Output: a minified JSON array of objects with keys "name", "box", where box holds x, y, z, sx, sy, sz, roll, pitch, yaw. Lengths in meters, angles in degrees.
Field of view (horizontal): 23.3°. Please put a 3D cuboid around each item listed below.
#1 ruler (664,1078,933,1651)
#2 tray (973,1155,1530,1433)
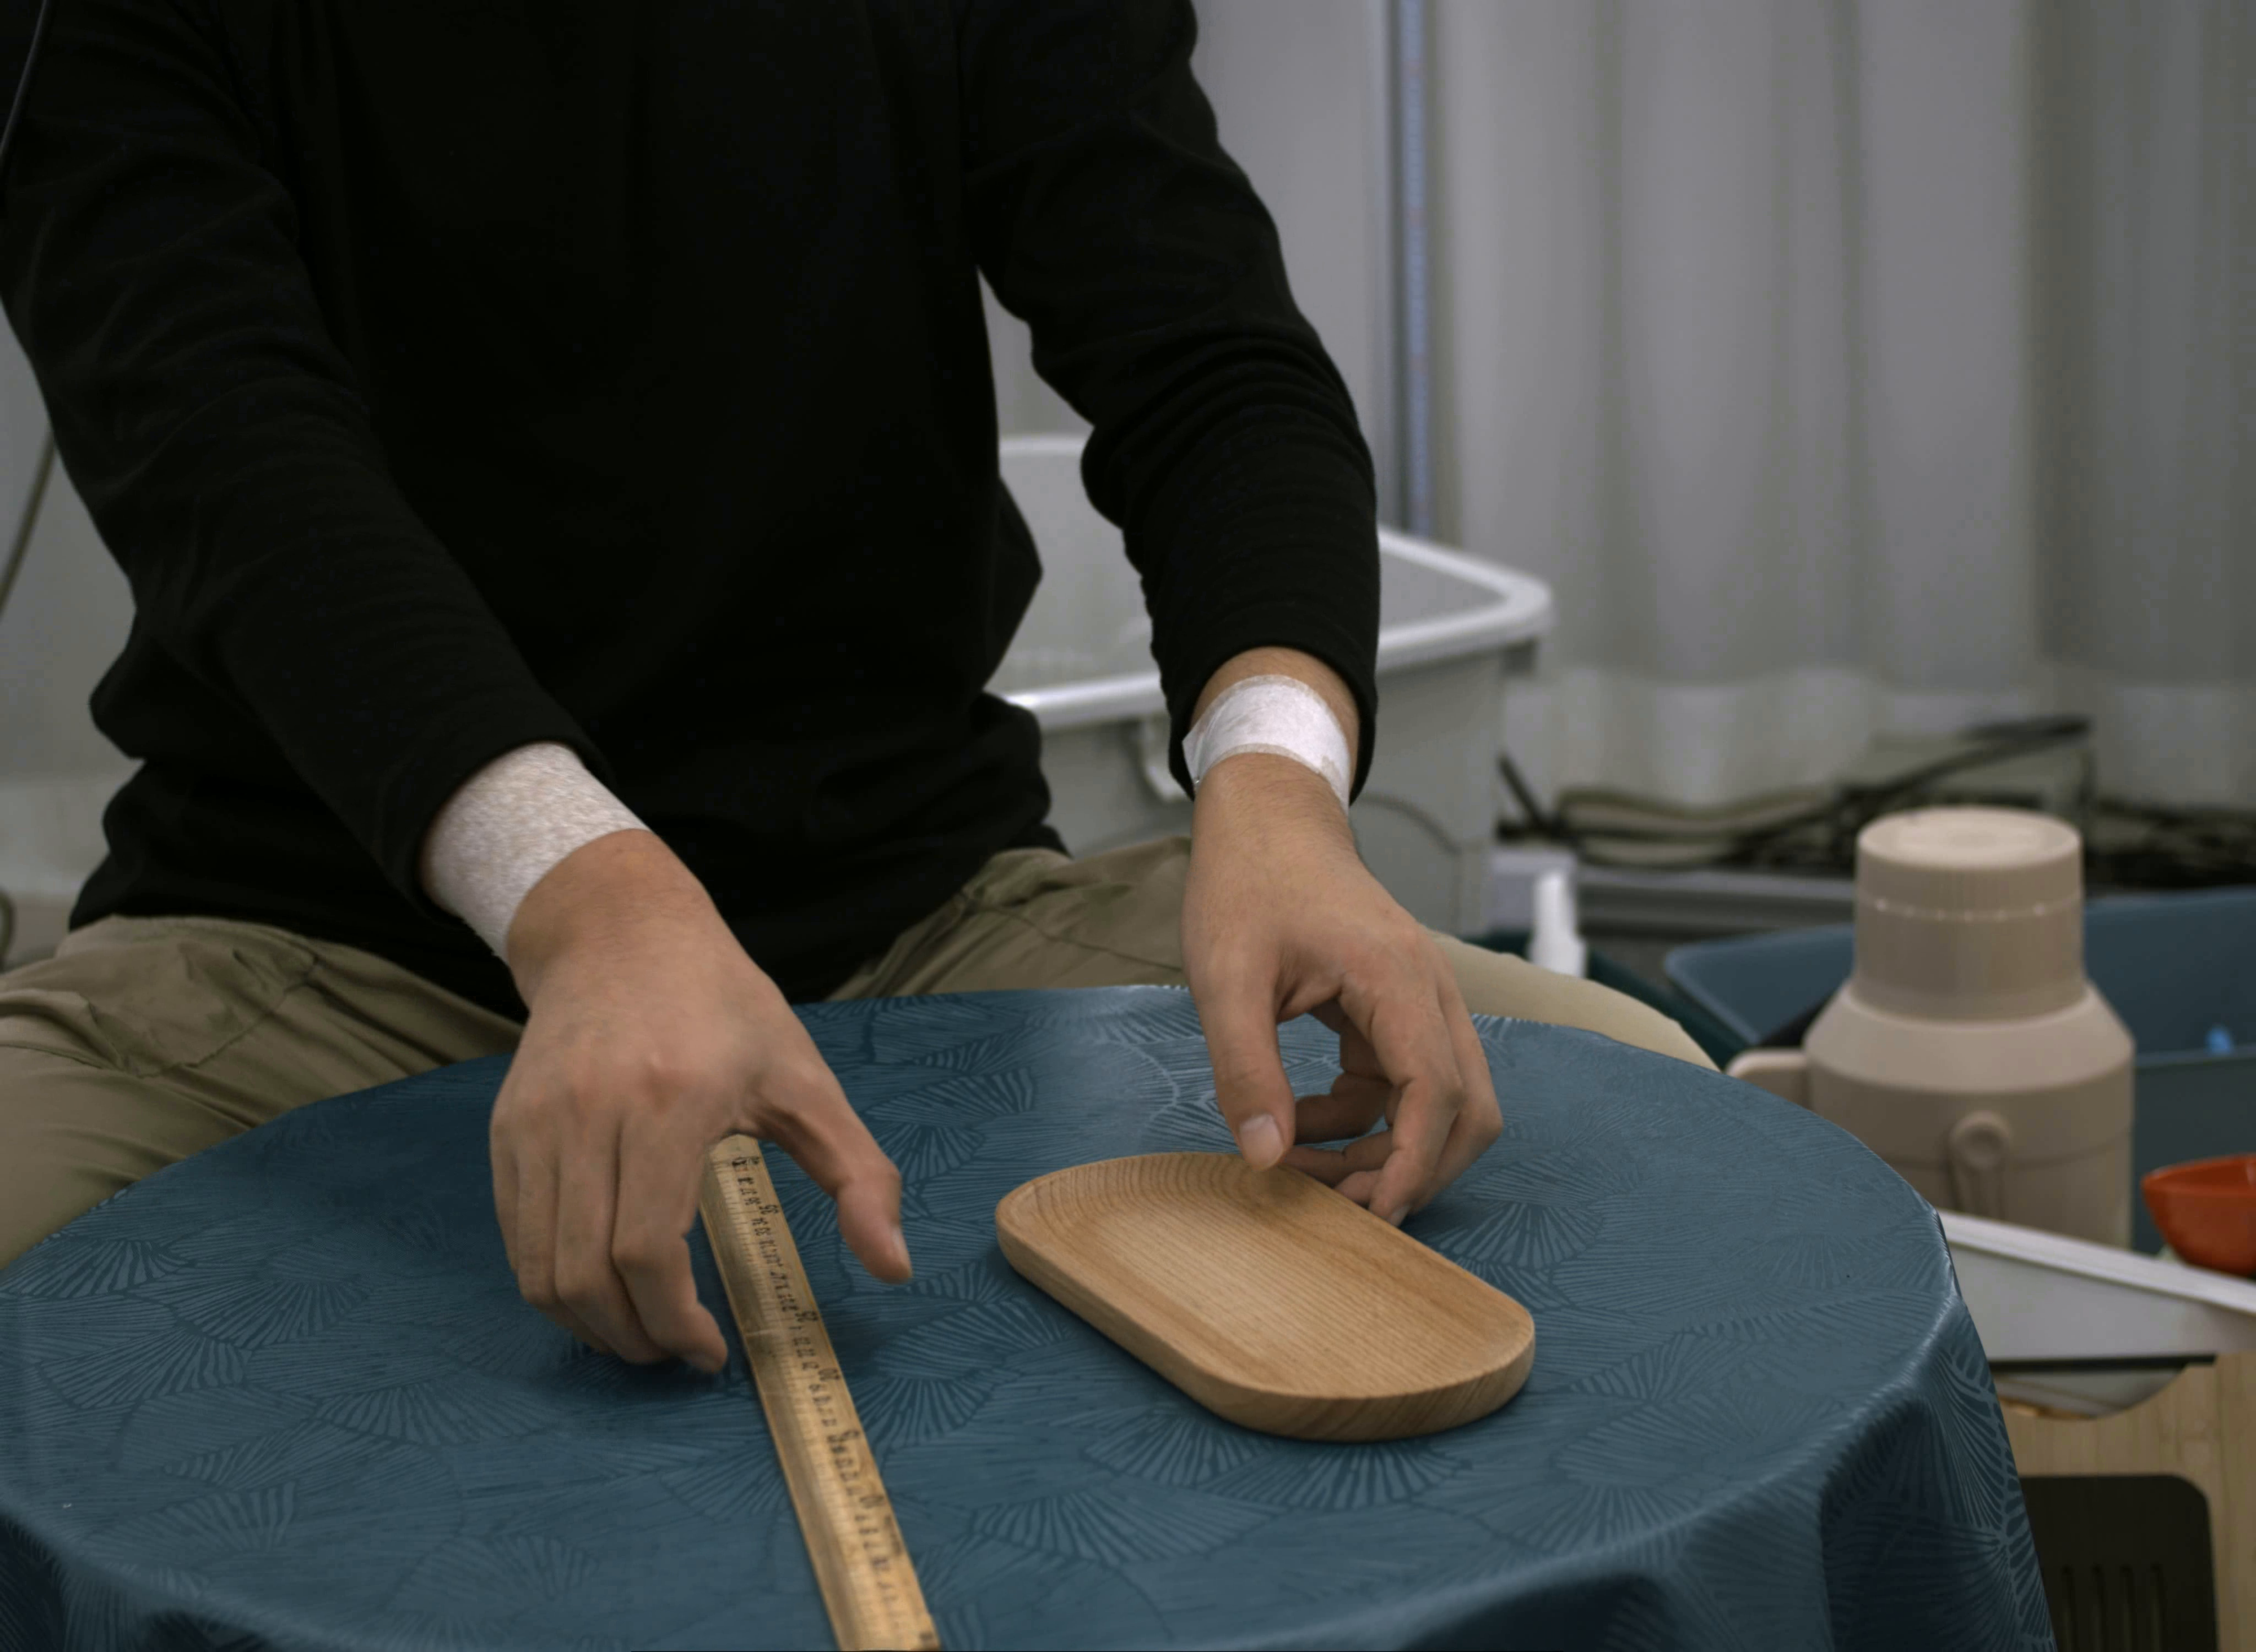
[{"name":"ruler","box":[-0.101,0.147,1.602,0.026,0.006,0.504,-4,15,-9]},{"name":"tray","box":[0.034,0.135,1.599,0.101,0.020,0.233,-8,14,-25]}]
